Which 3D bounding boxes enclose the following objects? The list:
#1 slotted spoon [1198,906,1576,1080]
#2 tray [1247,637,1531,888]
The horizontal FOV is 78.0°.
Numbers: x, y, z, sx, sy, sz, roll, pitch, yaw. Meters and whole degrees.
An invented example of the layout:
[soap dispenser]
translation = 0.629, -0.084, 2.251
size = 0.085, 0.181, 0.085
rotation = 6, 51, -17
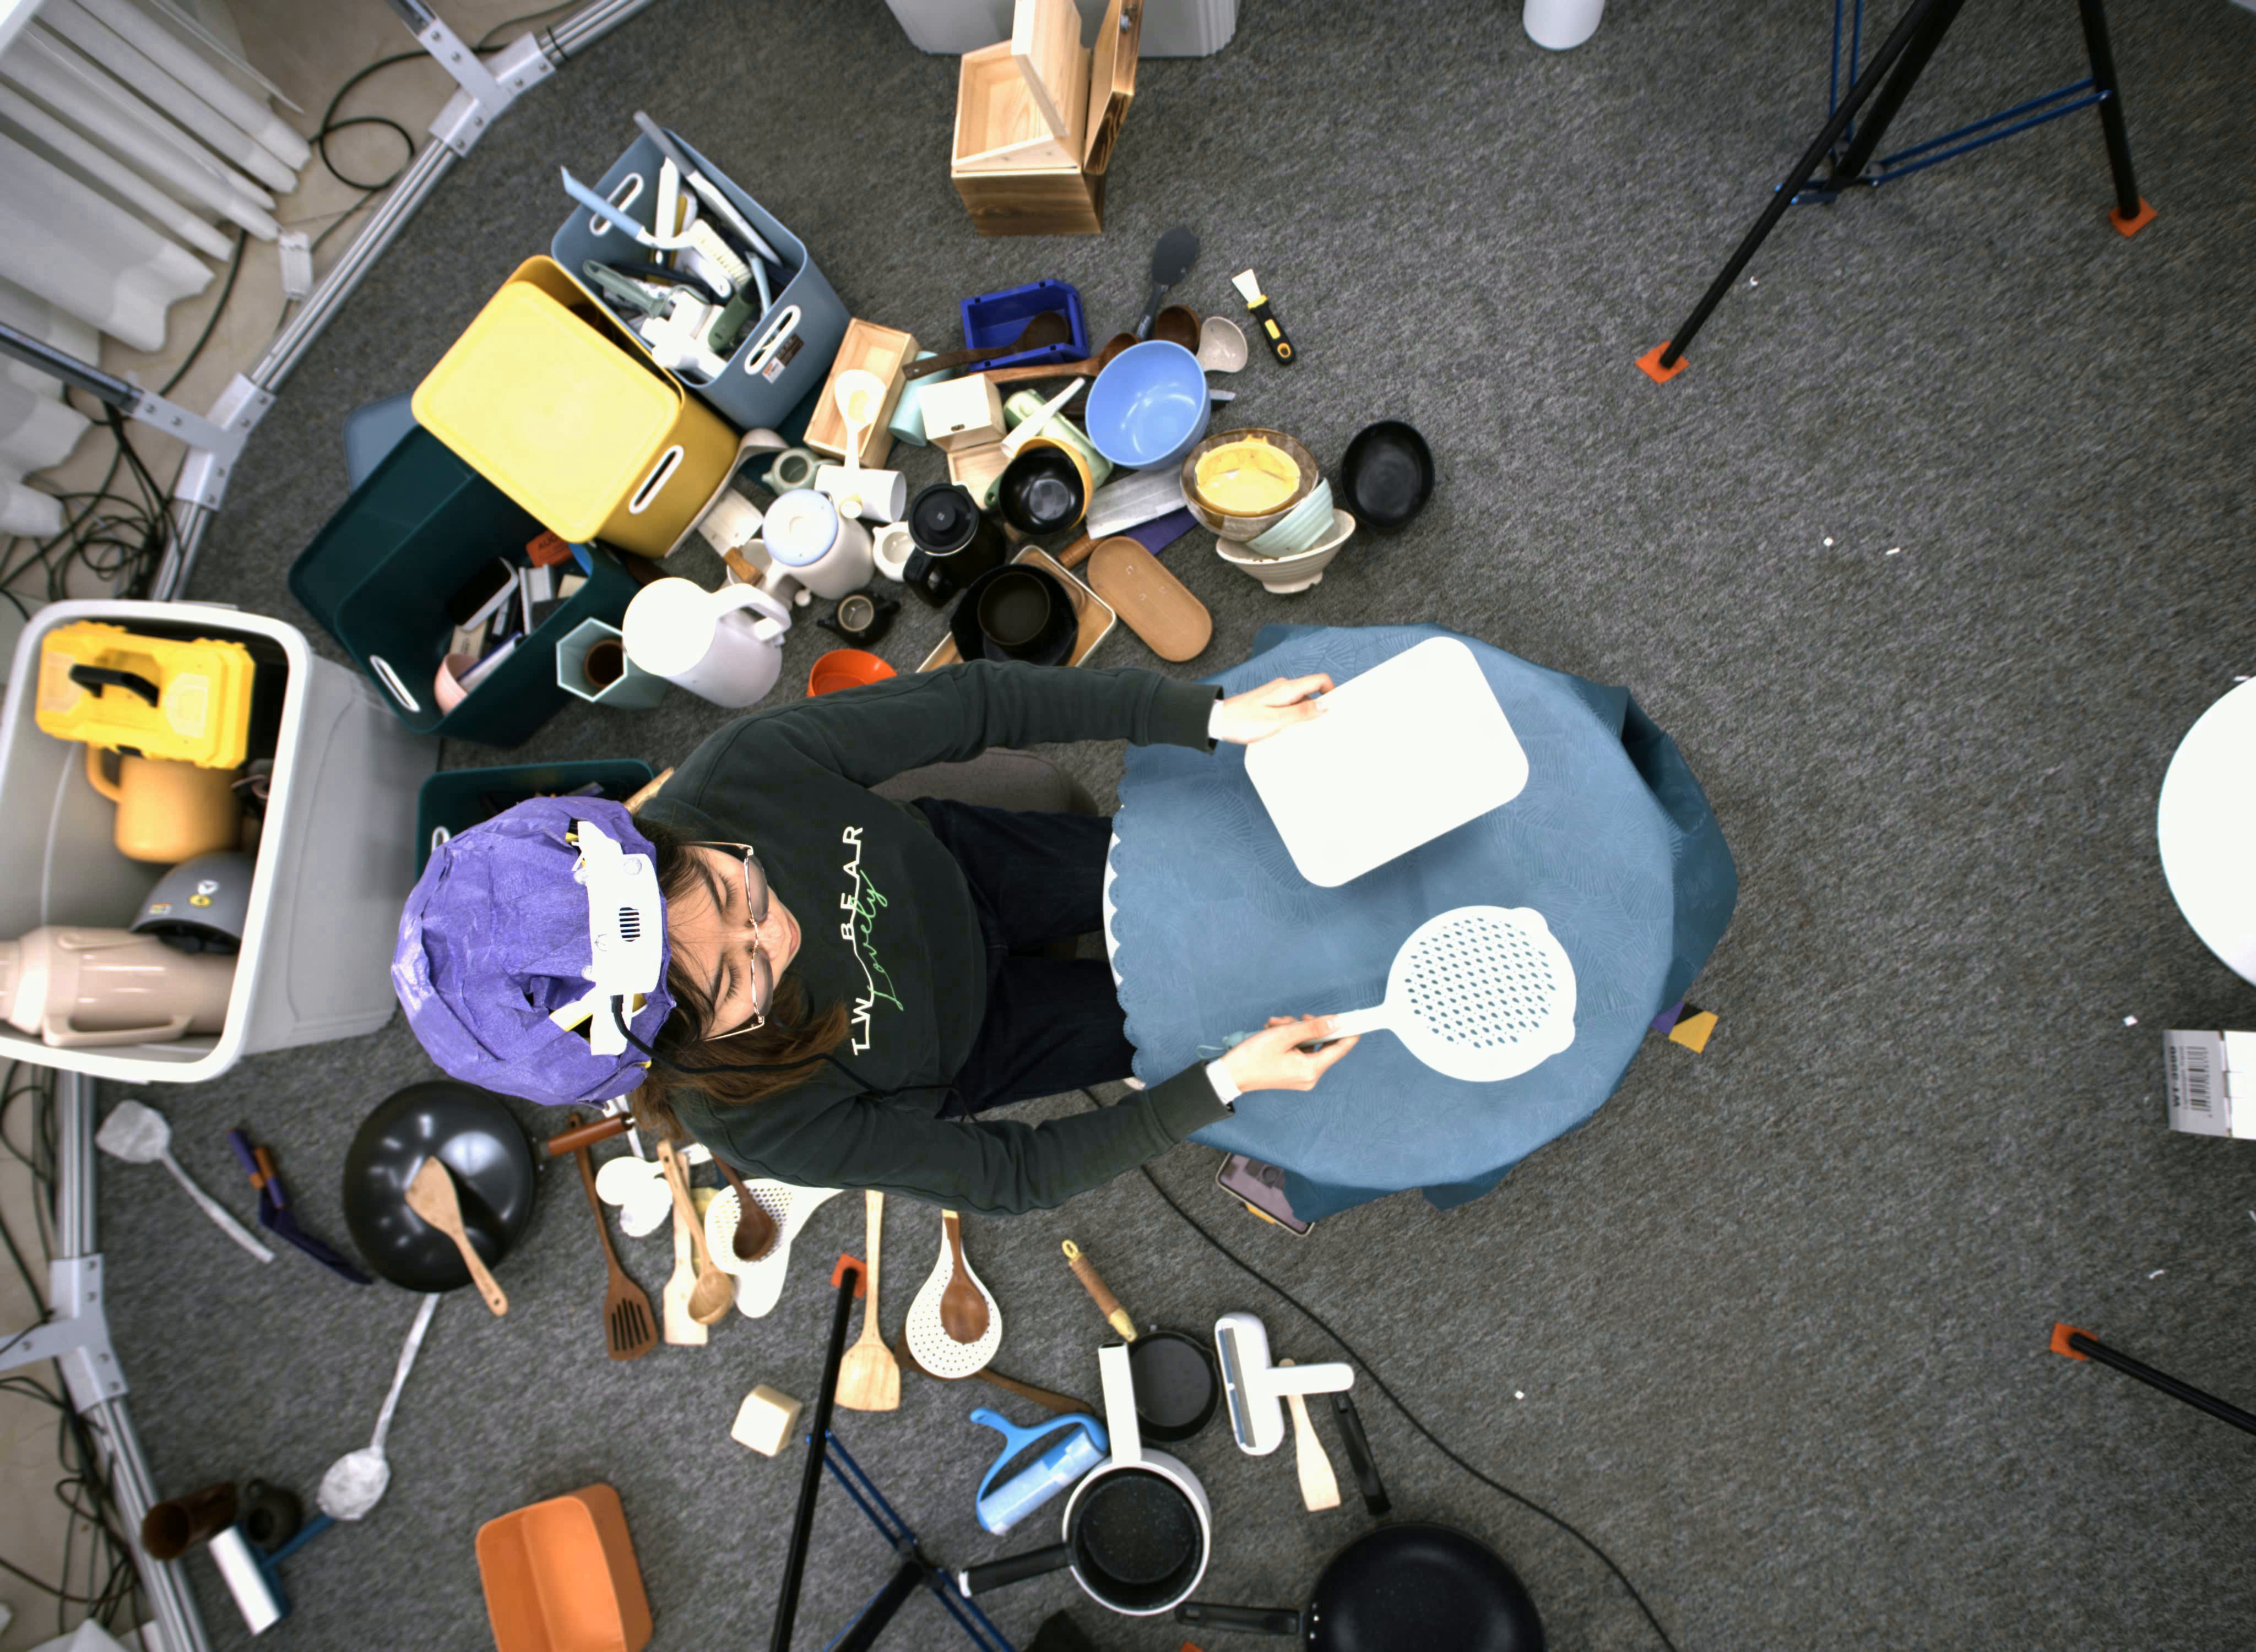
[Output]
[slotted spoon]
translation = 0.240, 0.178, 1.317
size = 0.360, 0.074, 0.170
rotation = -17, 99, 8
[tray]
translation = 0.248, -0.061, 1.320
size = 0.242, 0.017, 0.171
rotation = -28, 91, 13
